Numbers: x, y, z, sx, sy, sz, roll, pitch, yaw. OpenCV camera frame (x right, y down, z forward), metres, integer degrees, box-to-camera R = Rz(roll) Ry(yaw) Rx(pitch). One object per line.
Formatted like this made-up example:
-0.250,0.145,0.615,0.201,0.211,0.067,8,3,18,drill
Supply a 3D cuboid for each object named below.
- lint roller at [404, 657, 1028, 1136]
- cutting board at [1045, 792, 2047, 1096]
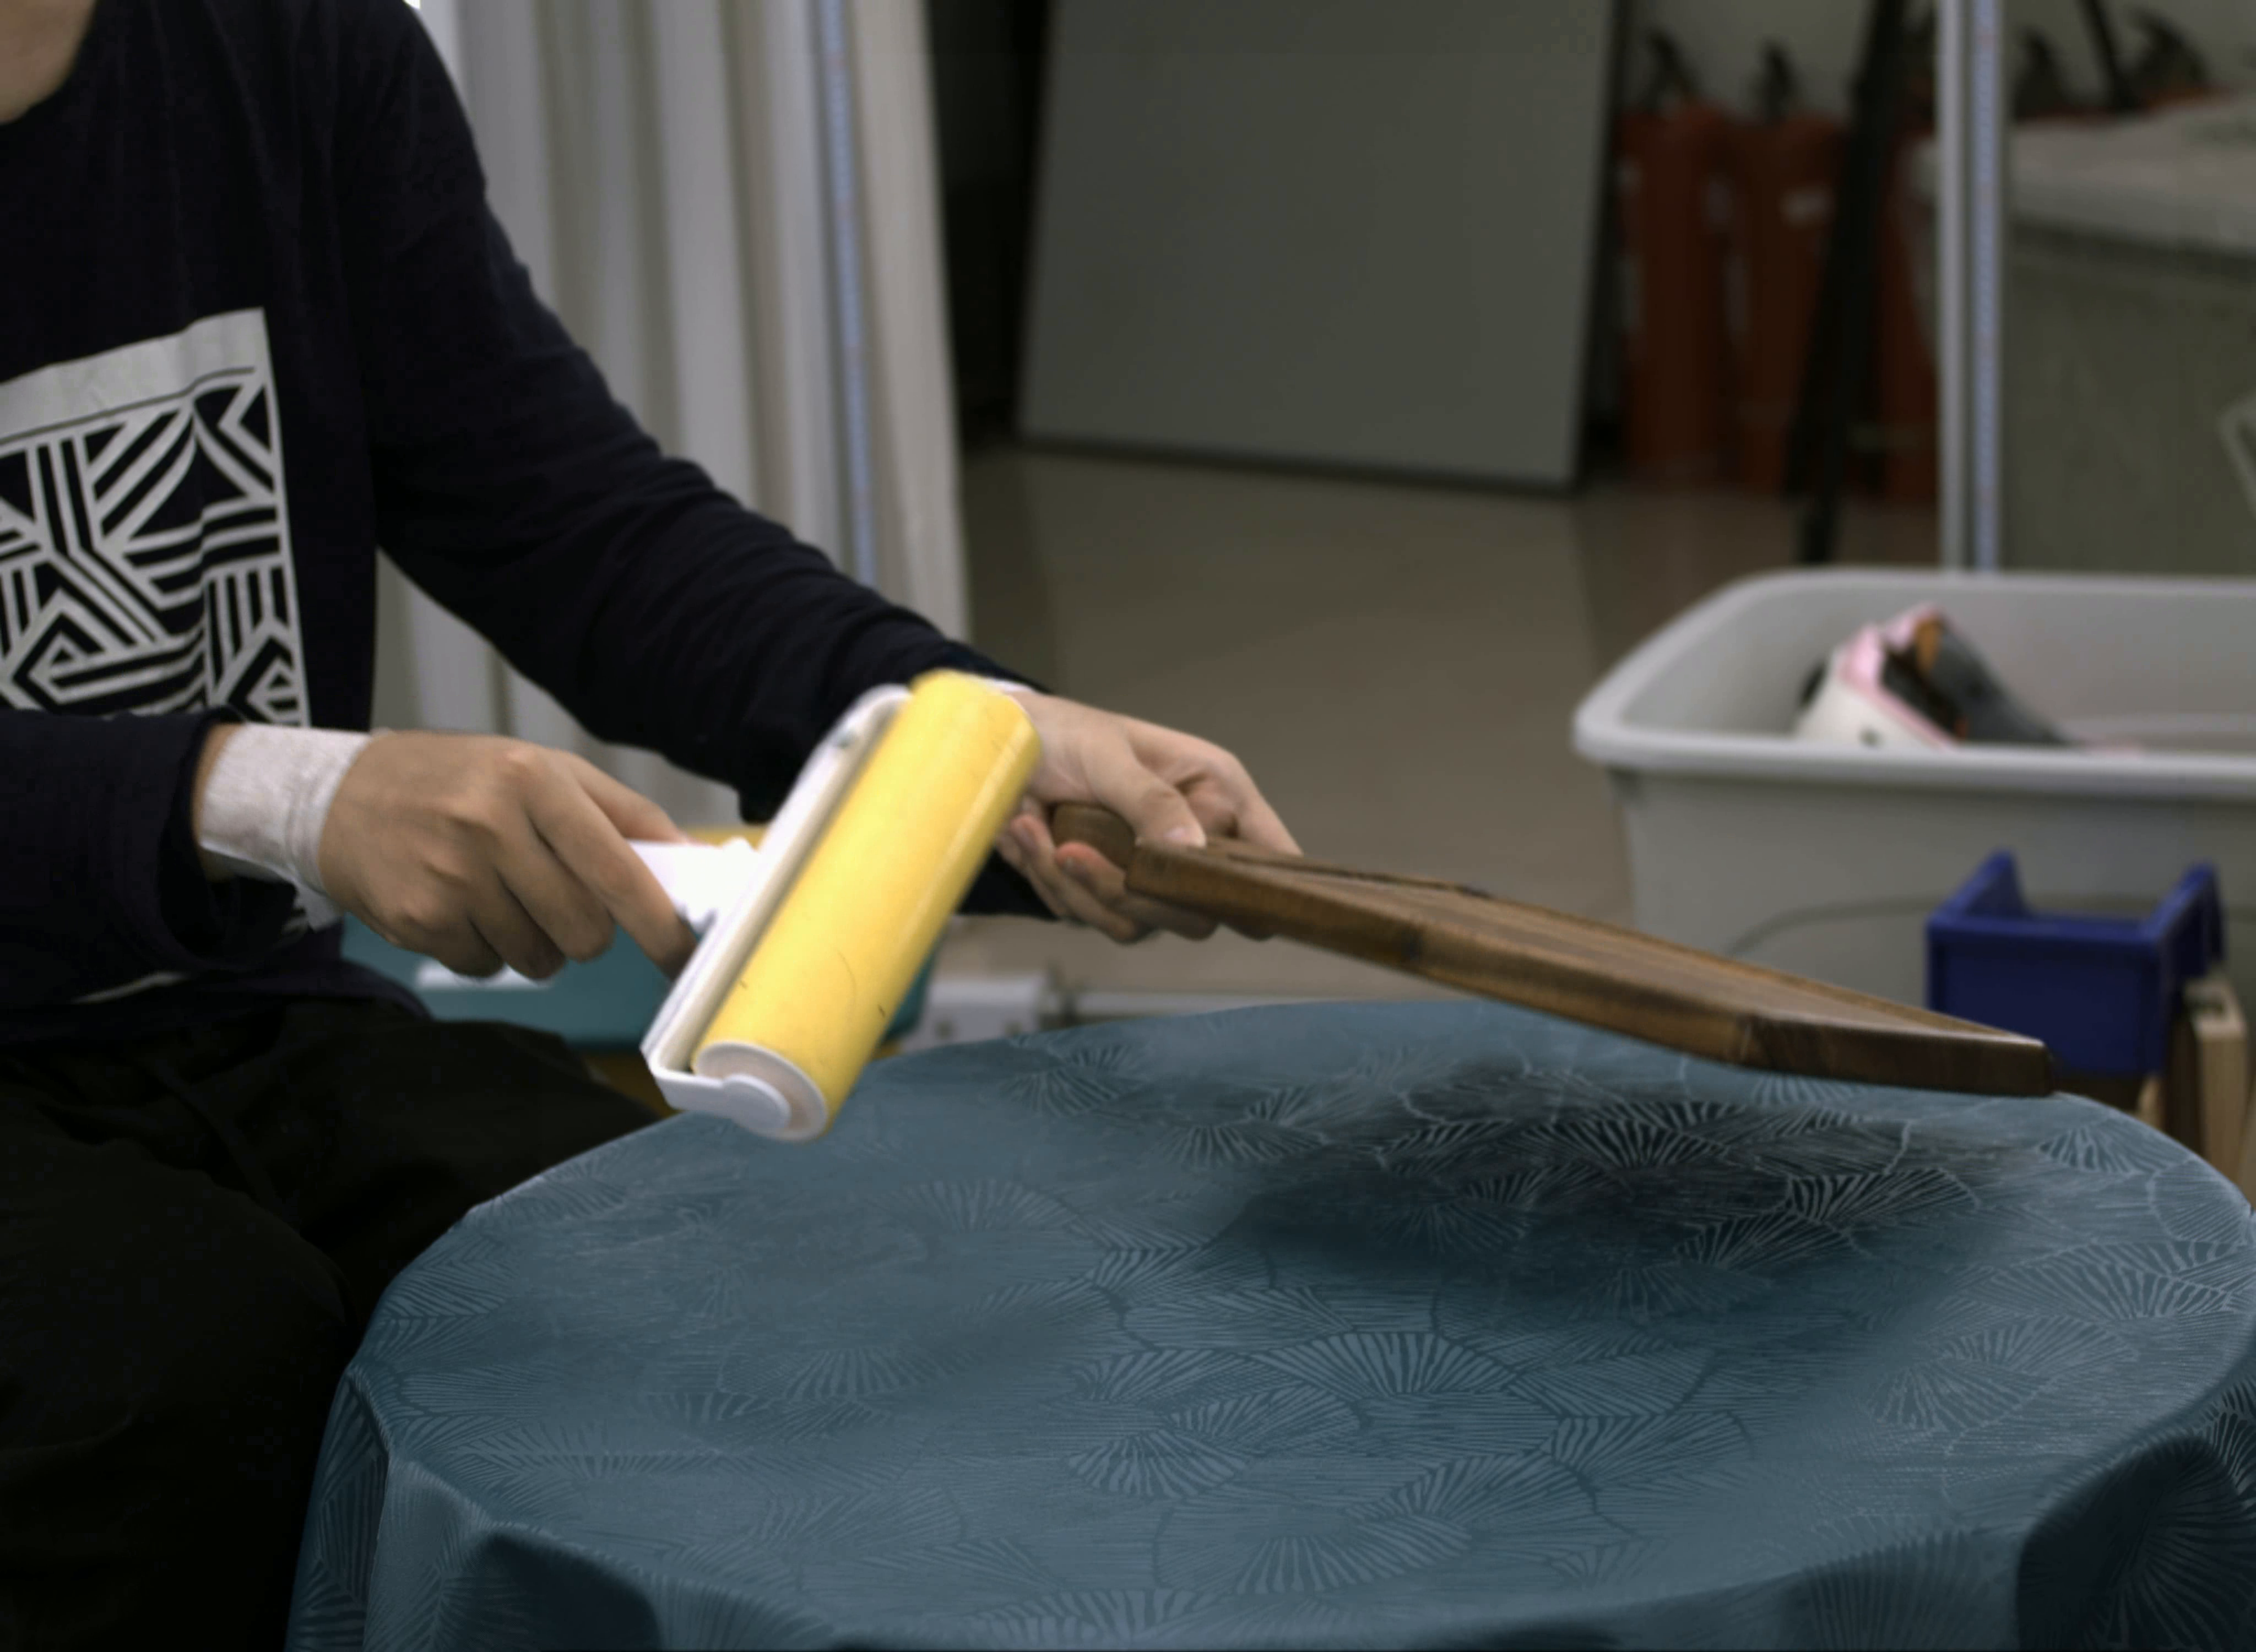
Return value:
-0.146,0.010,1.695,0.192,0.051,0.174,10,50,22,lint roller
0.112,0.034,1.780,0.355,0.023,0.197,15,2,38,cutting board
